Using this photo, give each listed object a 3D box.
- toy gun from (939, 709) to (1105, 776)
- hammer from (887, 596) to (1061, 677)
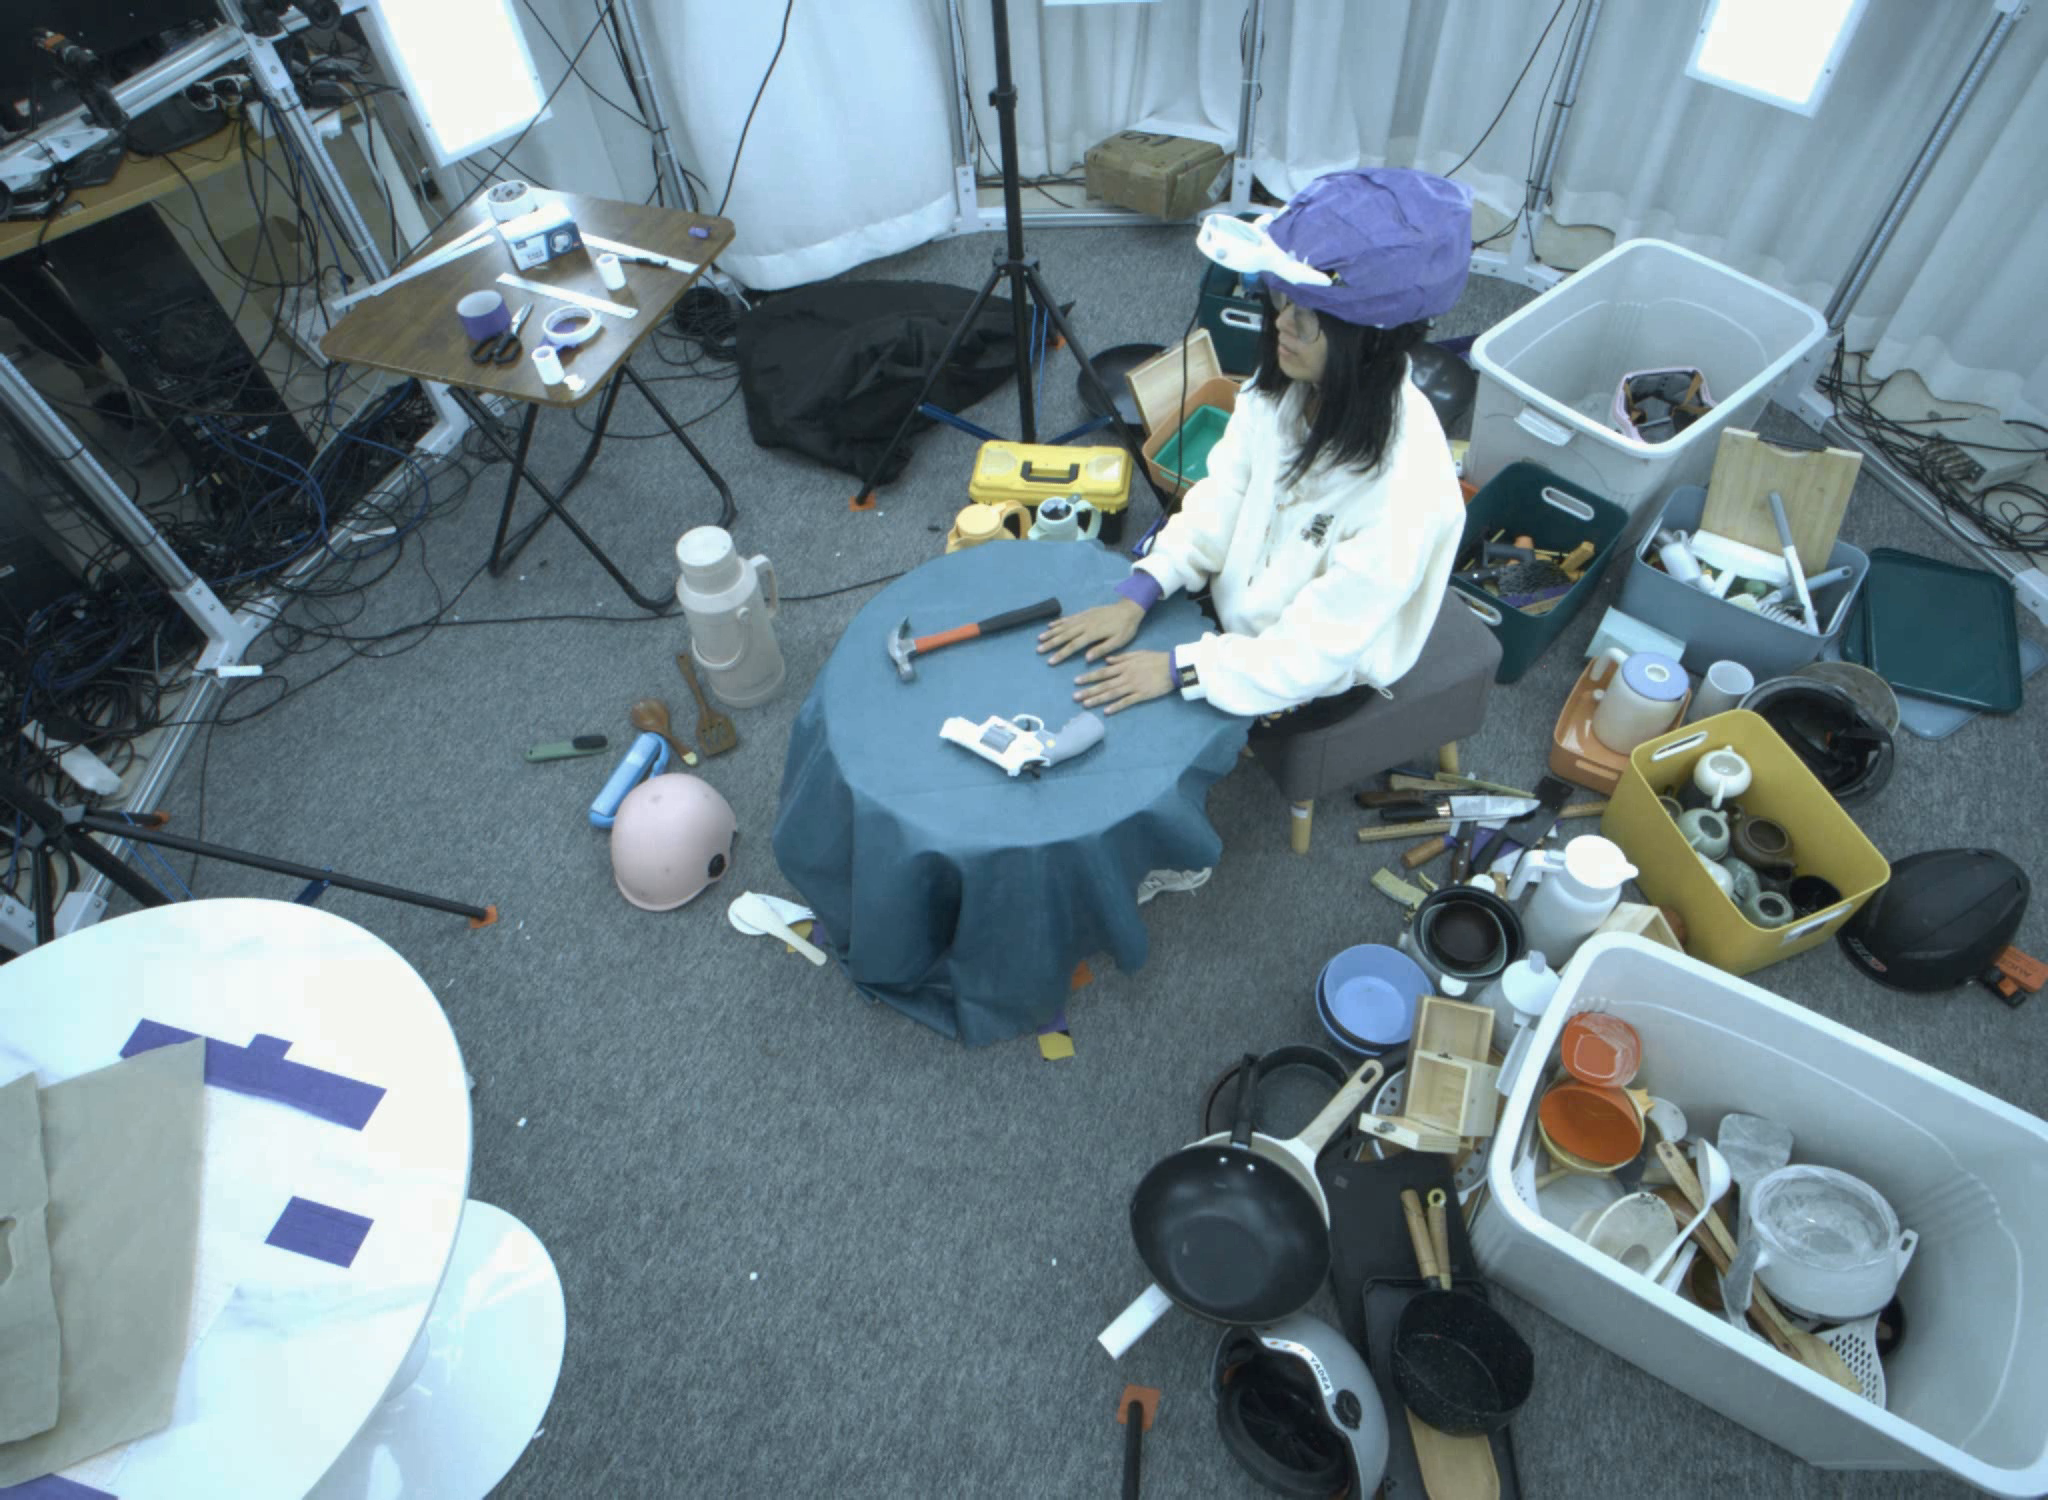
[{"bbox_3d":[-0.003,-0.028,1.783,0.206,0.039,0.142,25,61,19],"label":"toy gun"},{"bbox_3d":[-0.077,-0.192,1.908,0.279,0.026,0.108,-17,47,-10],"label":"hammer"}]
